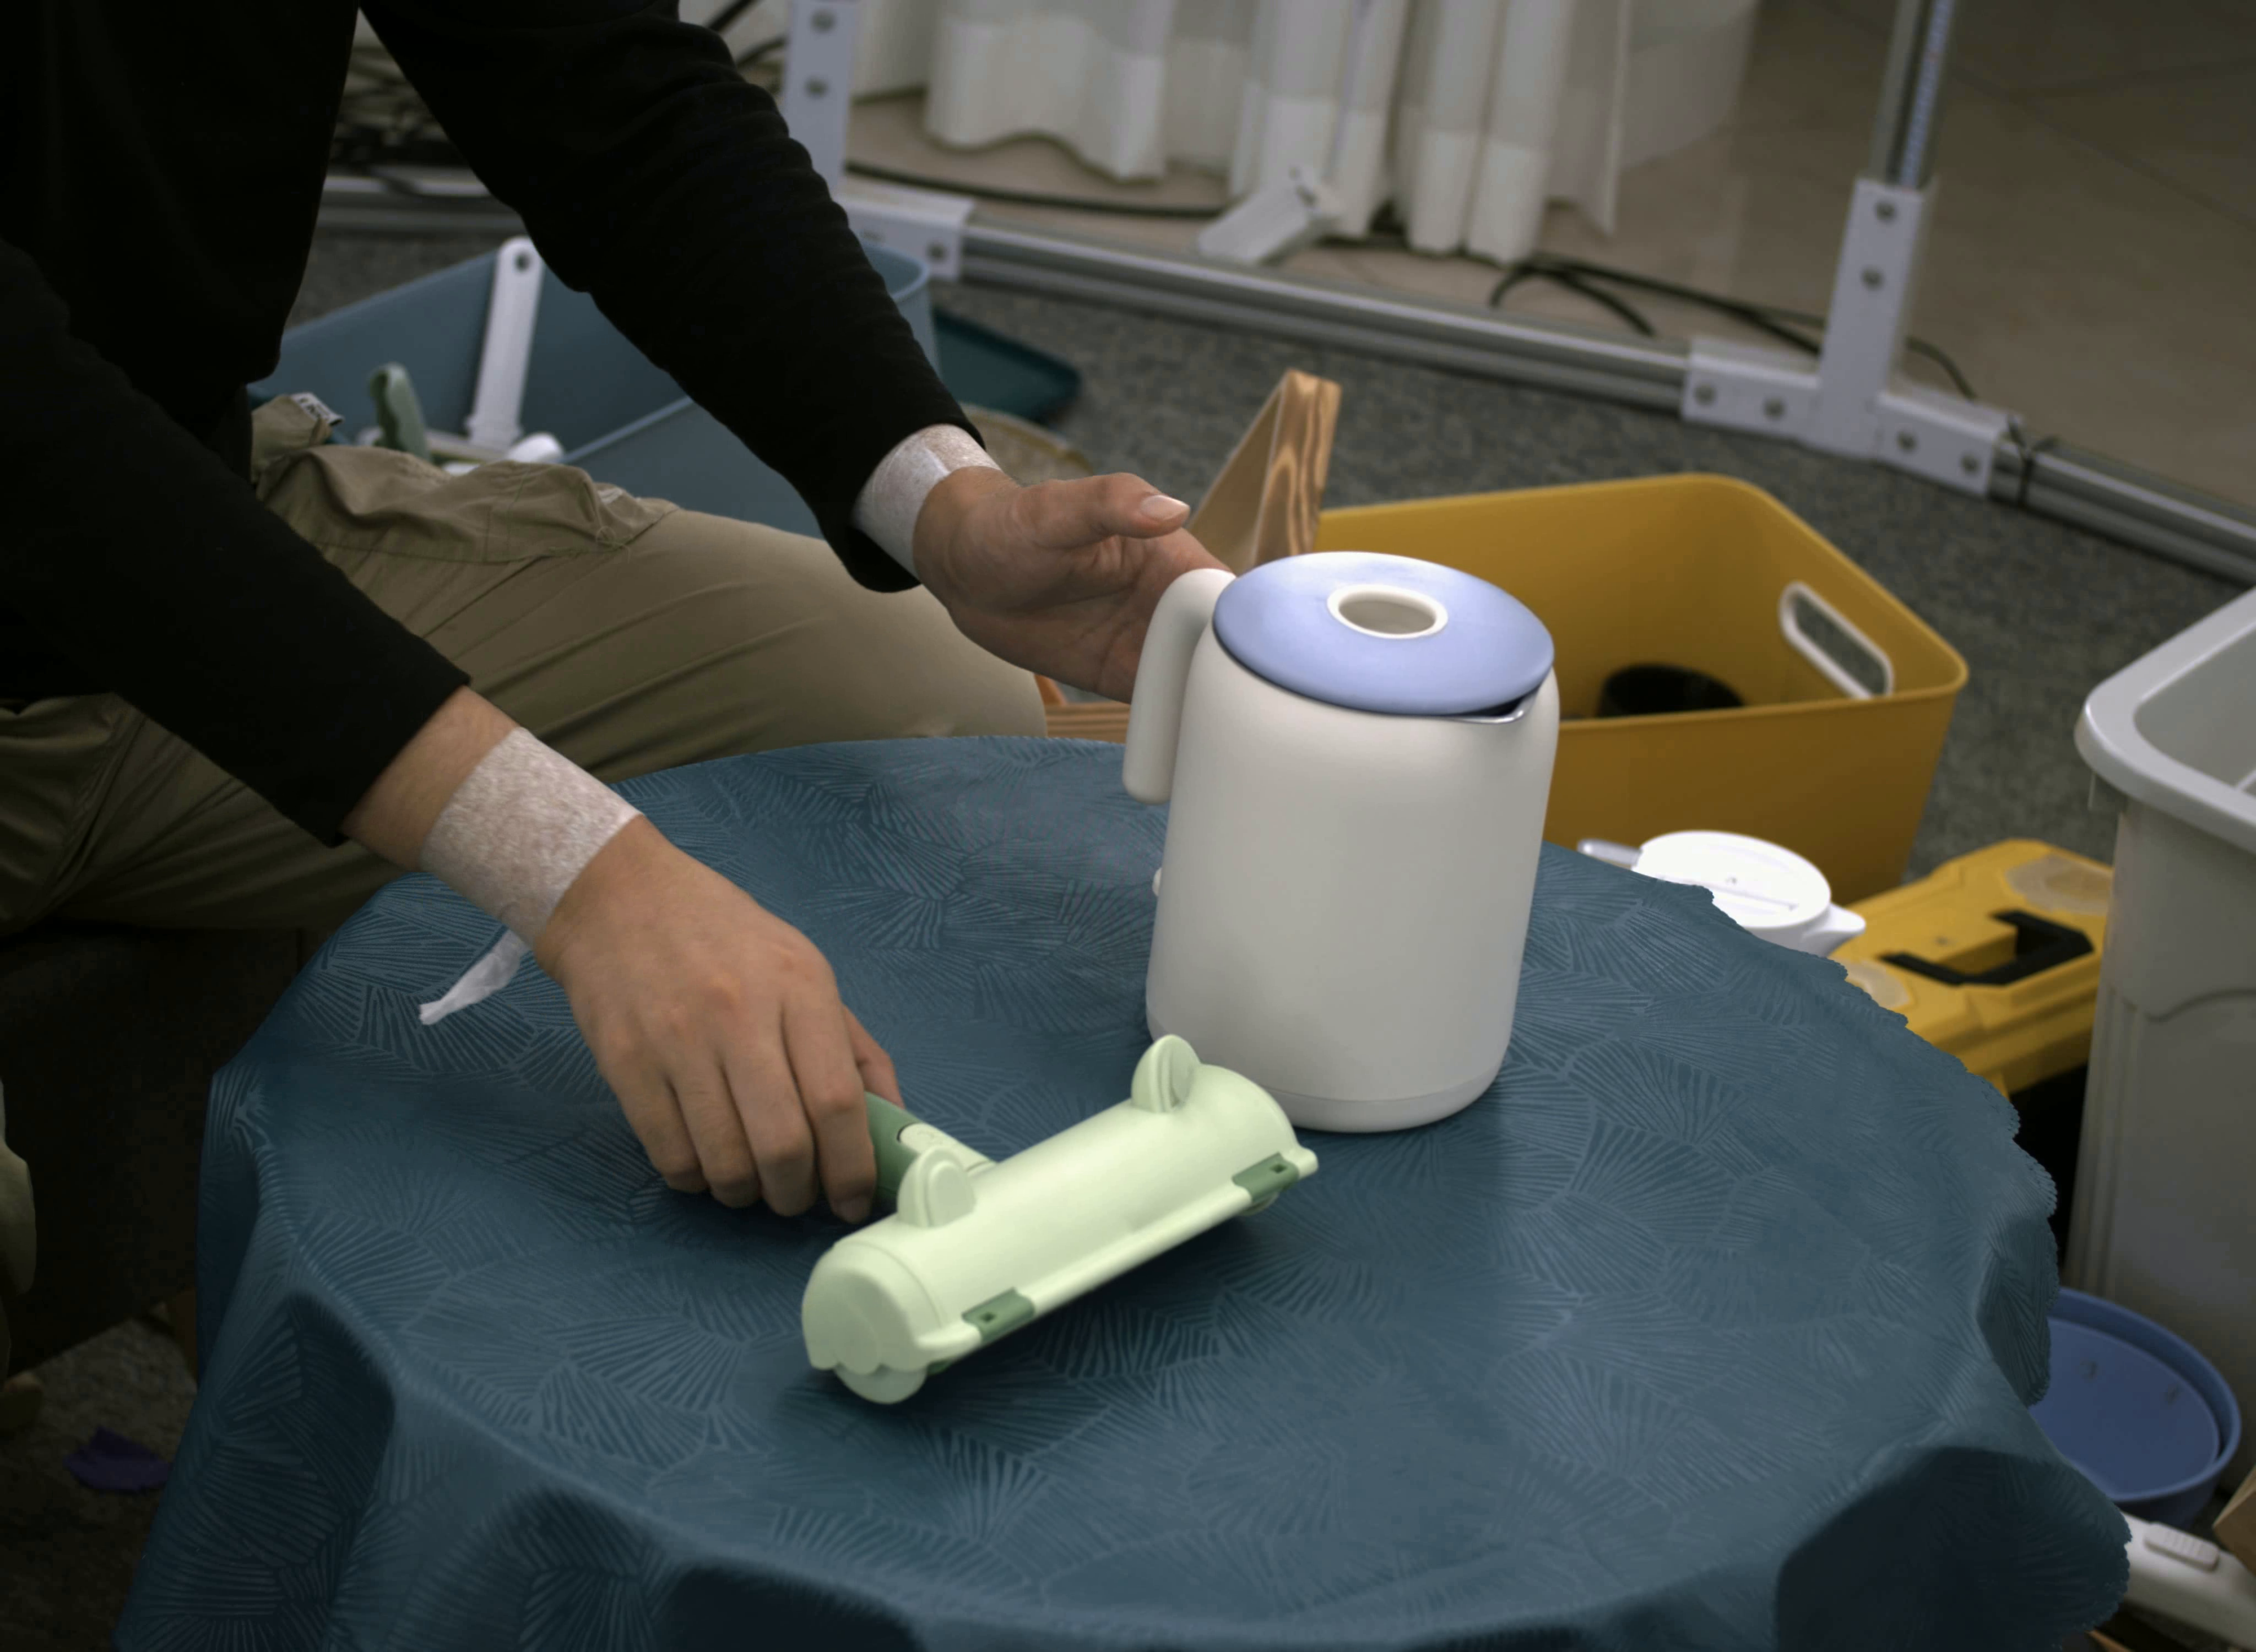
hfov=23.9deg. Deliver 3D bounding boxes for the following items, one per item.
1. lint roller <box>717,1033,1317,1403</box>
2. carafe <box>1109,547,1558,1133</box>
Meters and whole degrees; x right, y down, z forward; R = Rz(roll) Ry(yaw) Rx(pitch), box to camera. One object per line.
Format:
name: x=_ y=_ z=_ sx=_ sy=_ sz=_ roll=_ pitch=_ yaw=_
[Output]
lint roller: x=-0.063 y=0.102 z=1.746 sx=0.184 sy=0.082 sz=0.198 roll=28 pitch=32 yaw=32
carafe: x=0.063 y=-0.005 z=1.880 sx=0.131 sy=0.182 sz=0.192 roll=-15 pitch=32 yaw=-38
